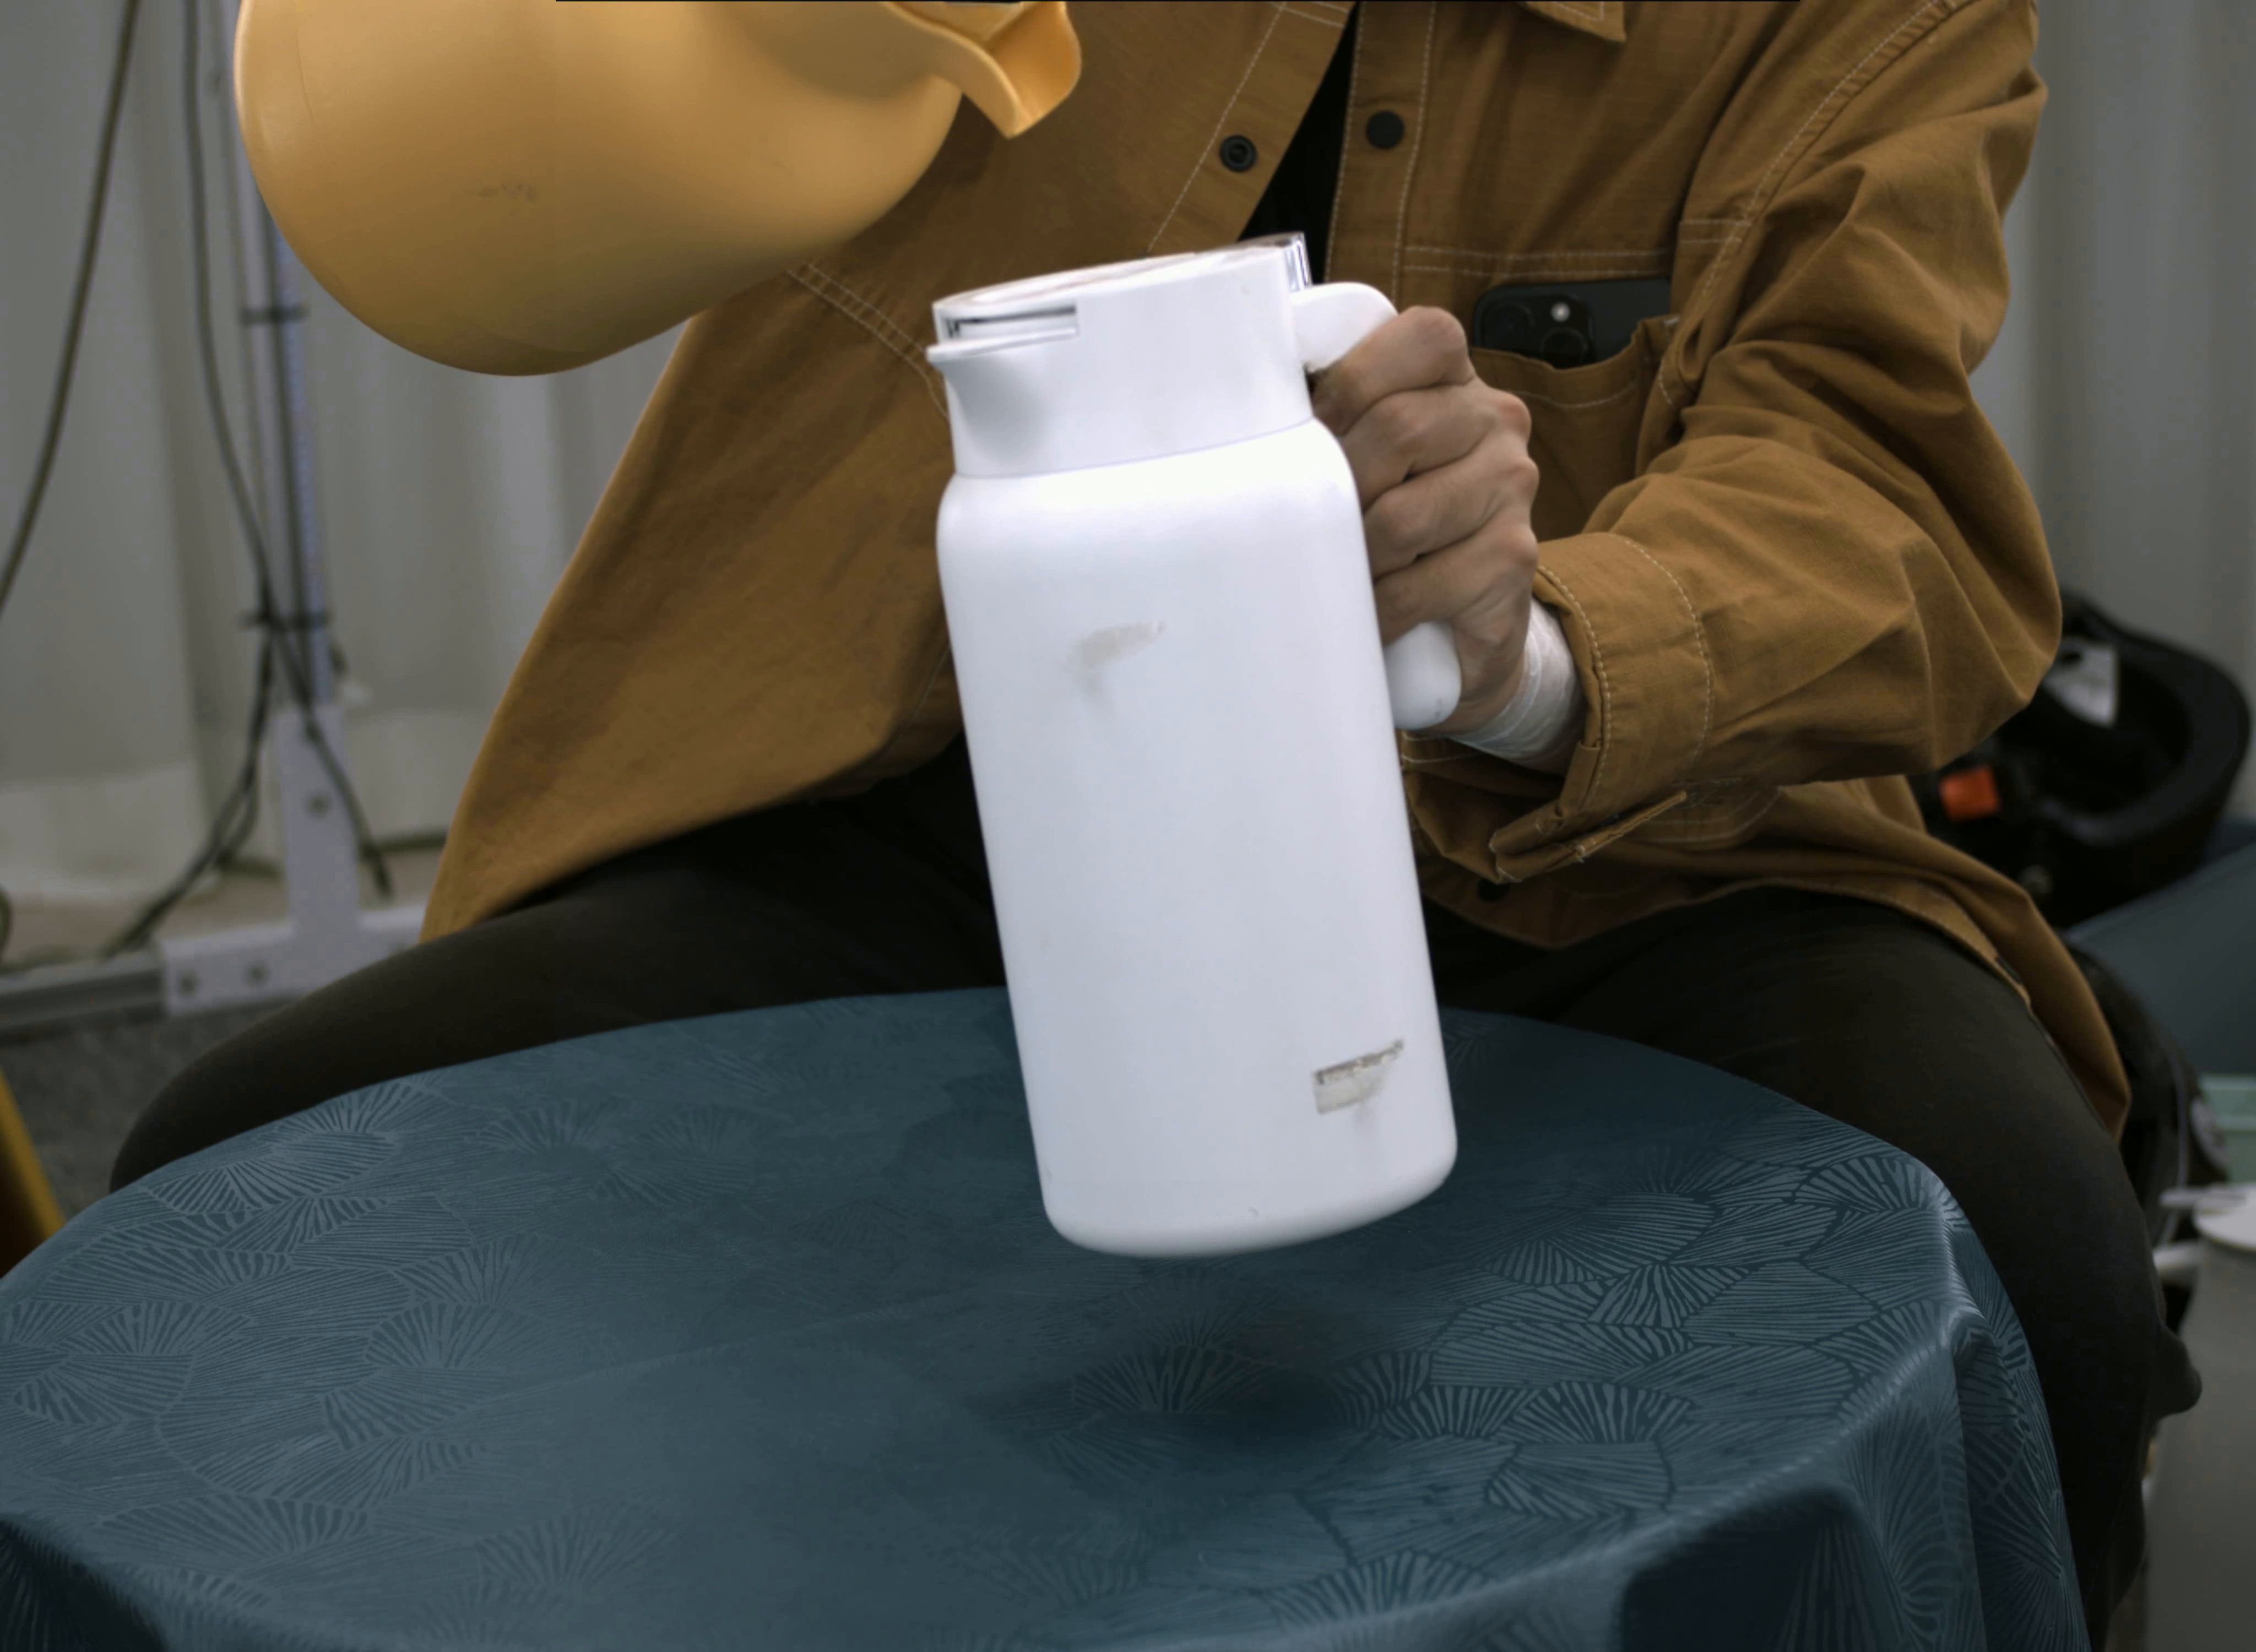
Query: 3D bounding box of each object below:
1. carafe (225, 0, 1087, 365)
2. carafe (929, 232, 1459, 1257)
[{"bbox_3d":[-0.132,-0.251,1.542,0.260,0.202,0.164,-16,11,42],"label":"carafe"},{"bbox_3d":[0.026,-0.027,1.521,0.124,0.269,0.172,-4,9,44],"label":"carafe"}]
